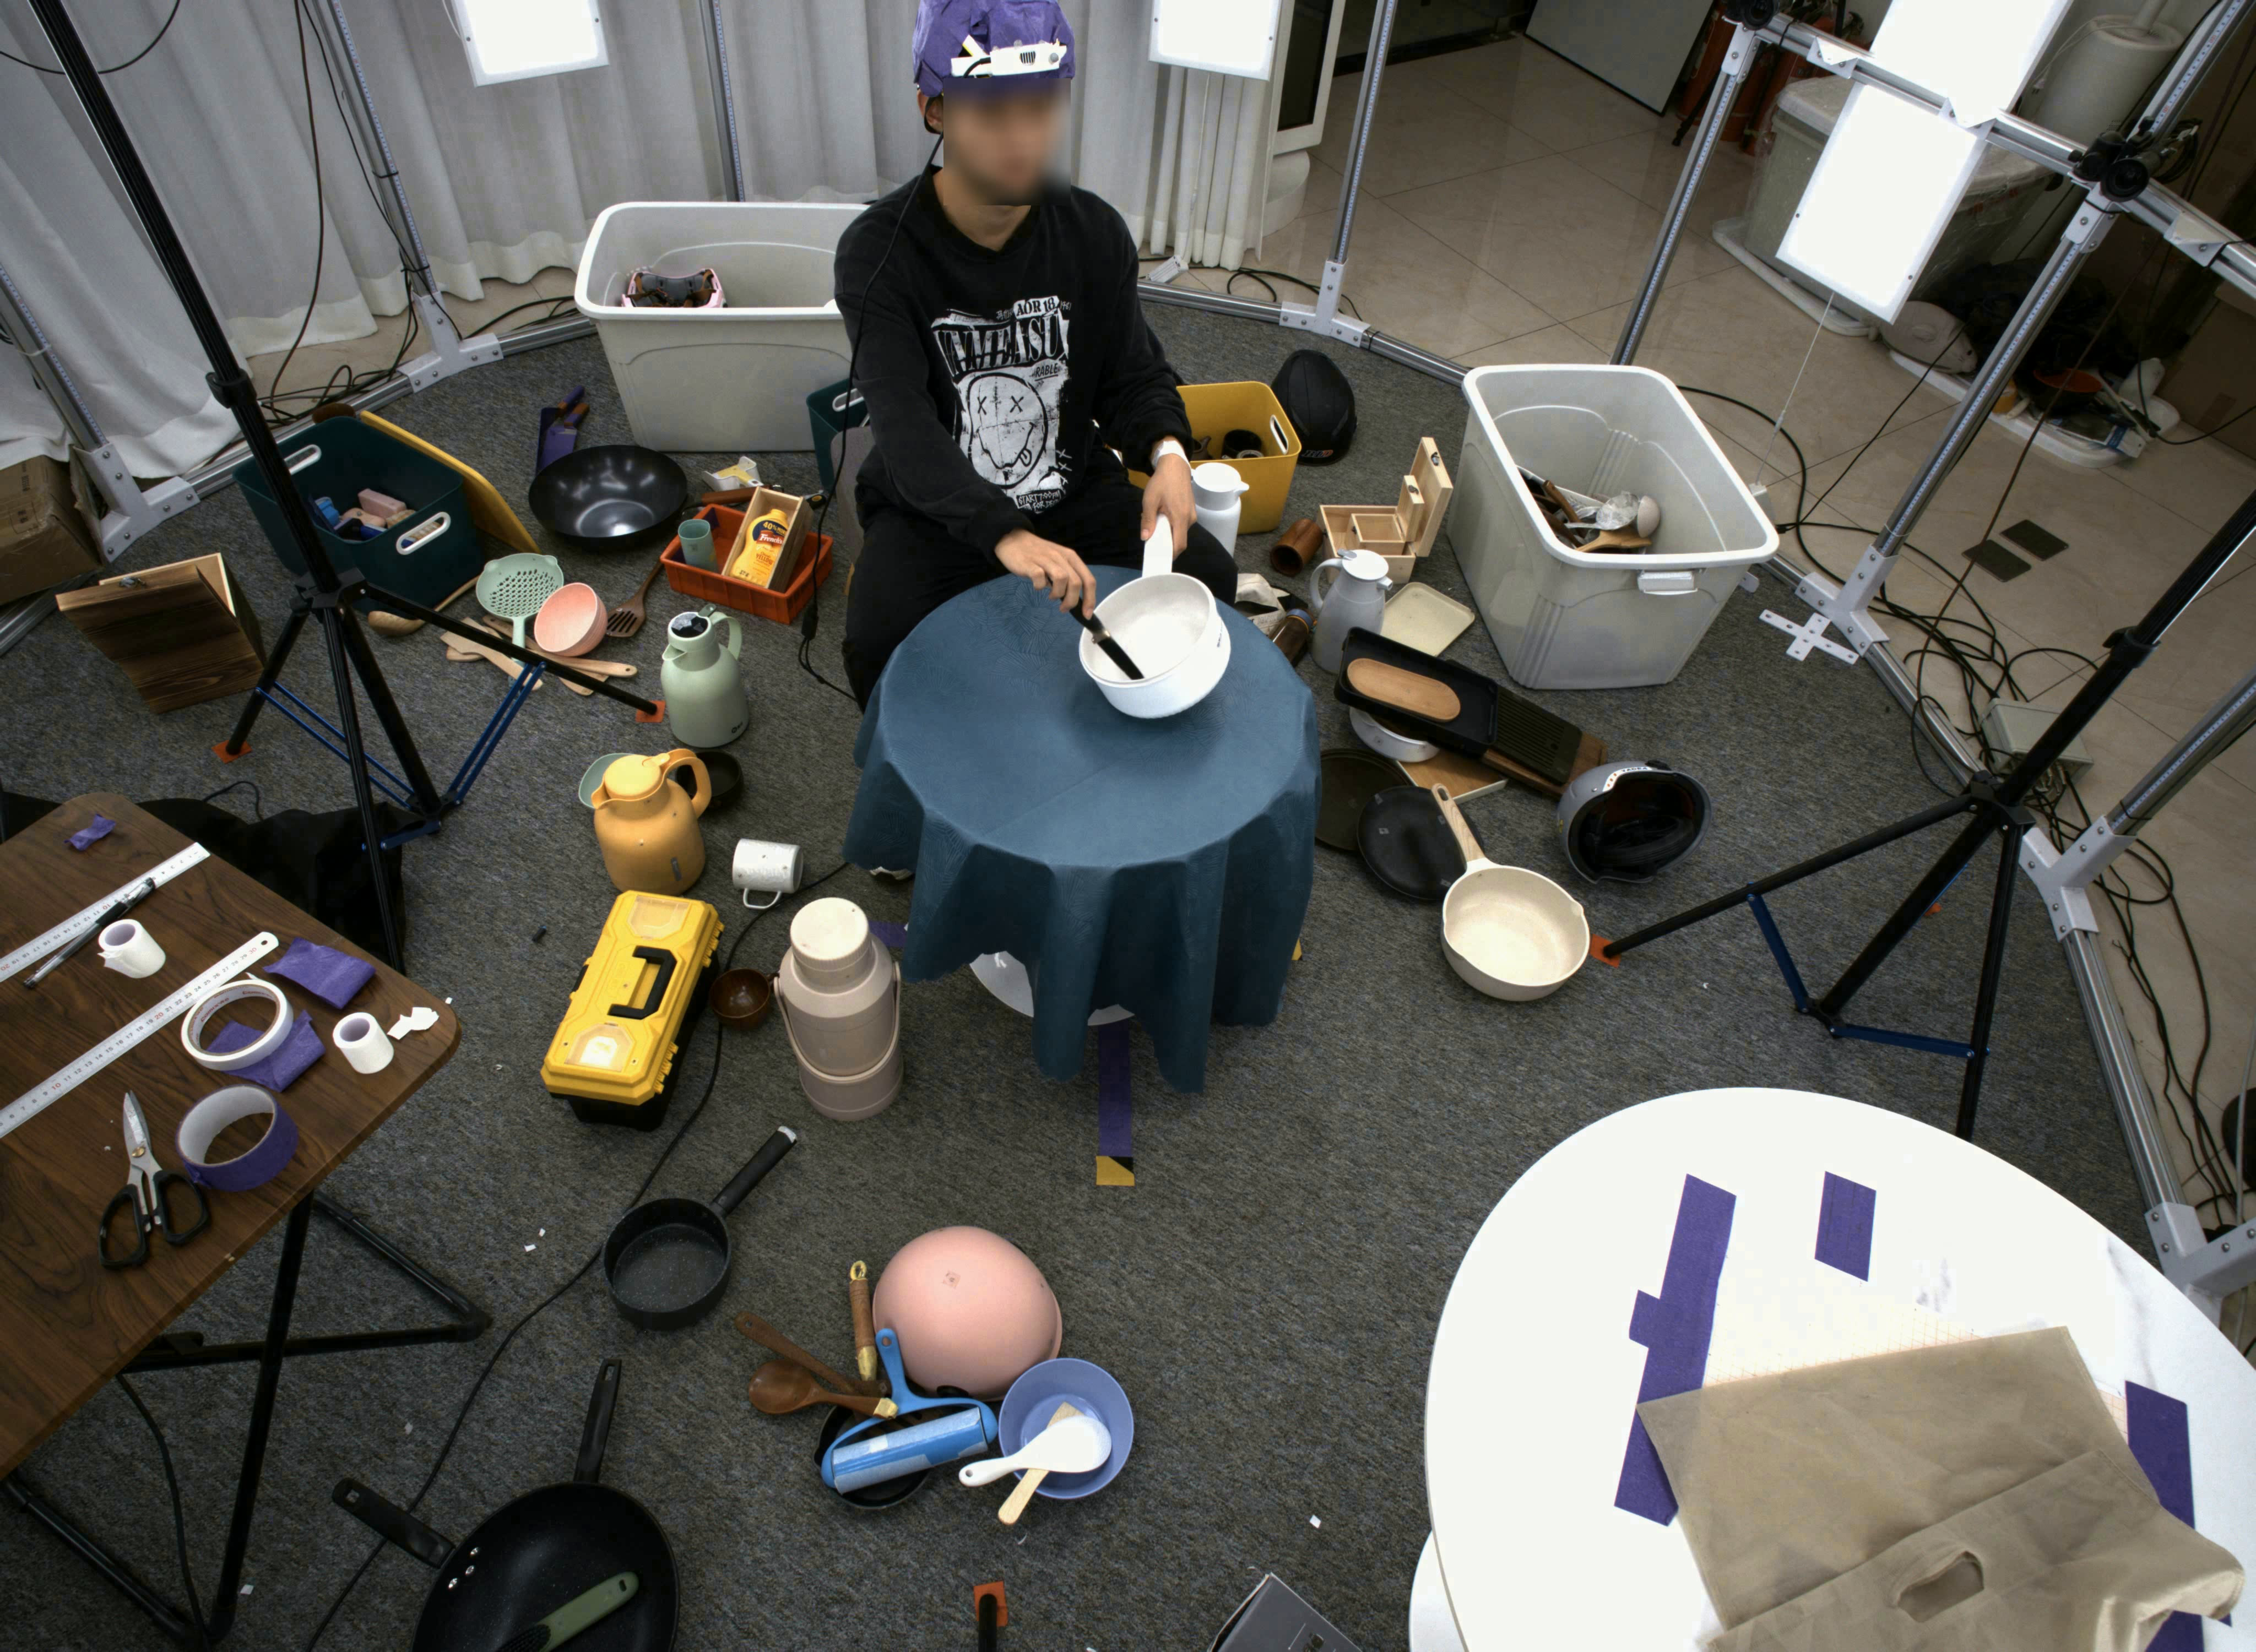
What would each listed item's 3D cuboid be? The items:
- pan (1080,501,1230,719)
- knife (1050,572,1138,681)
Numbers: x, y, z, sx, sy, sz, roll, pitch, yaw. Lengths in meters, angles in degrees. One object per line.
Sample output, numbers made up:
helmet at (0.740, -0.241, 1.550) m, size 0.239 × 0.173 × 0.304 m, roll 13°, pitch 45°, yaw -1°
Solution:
pan at (0.050, -0.307, 1.834) m, size 0.201 × 0.100 × 0.363 m, roll -12°, pitch 50°, yaw 23°
knife at (-0.032, -0.246, 1.676) m, size 0.026 × 0.221 × 0.017 m, roll -35°, pitch 34°, yaw 11°
